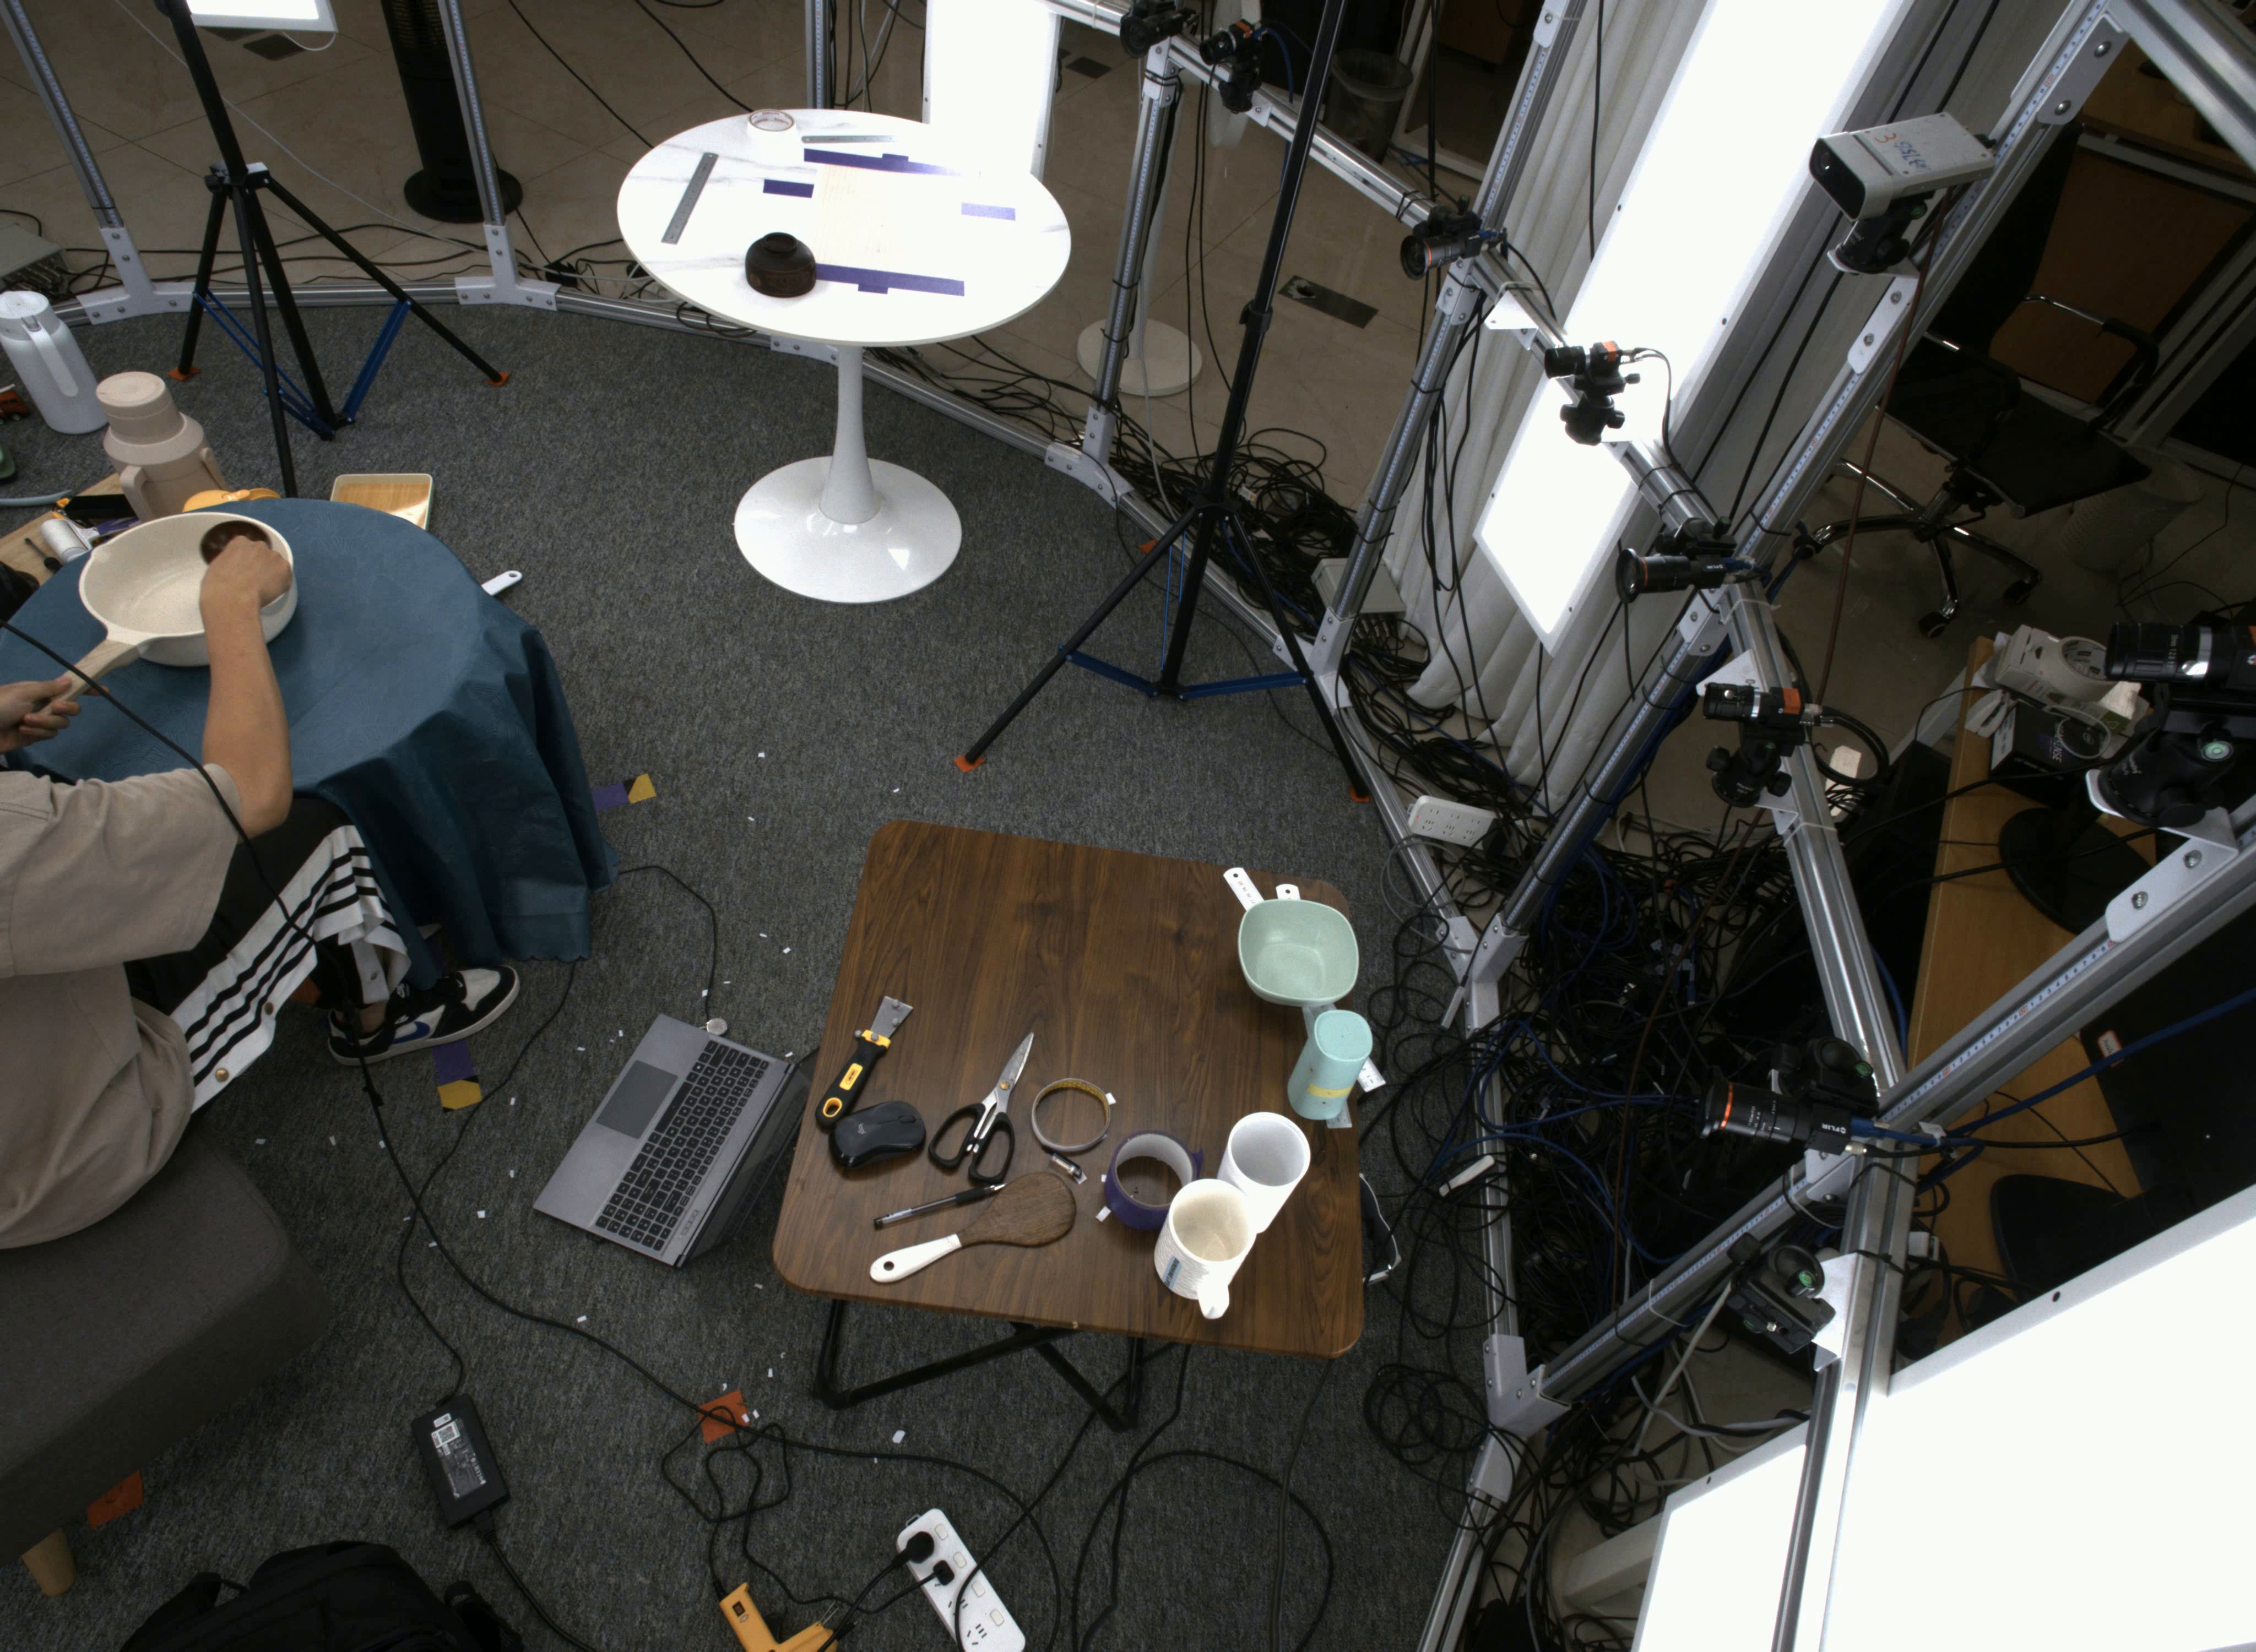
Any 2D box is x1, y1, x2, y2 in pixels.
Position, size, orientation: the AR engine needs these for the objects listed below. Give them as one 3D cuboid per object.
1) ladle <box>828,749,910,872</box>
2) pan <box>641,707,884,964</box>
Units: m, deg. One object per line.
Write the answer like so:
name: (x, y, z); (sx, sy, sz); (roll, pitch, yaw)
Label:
ladle: (-0.288, -0.026, 1.481); (0.082, 0.079, 0.266); (-22, 22, -12)
pan: (-0.478, 0.024, 1.640); (0.260, 0.104, 0.432); (26, 53, 5)
